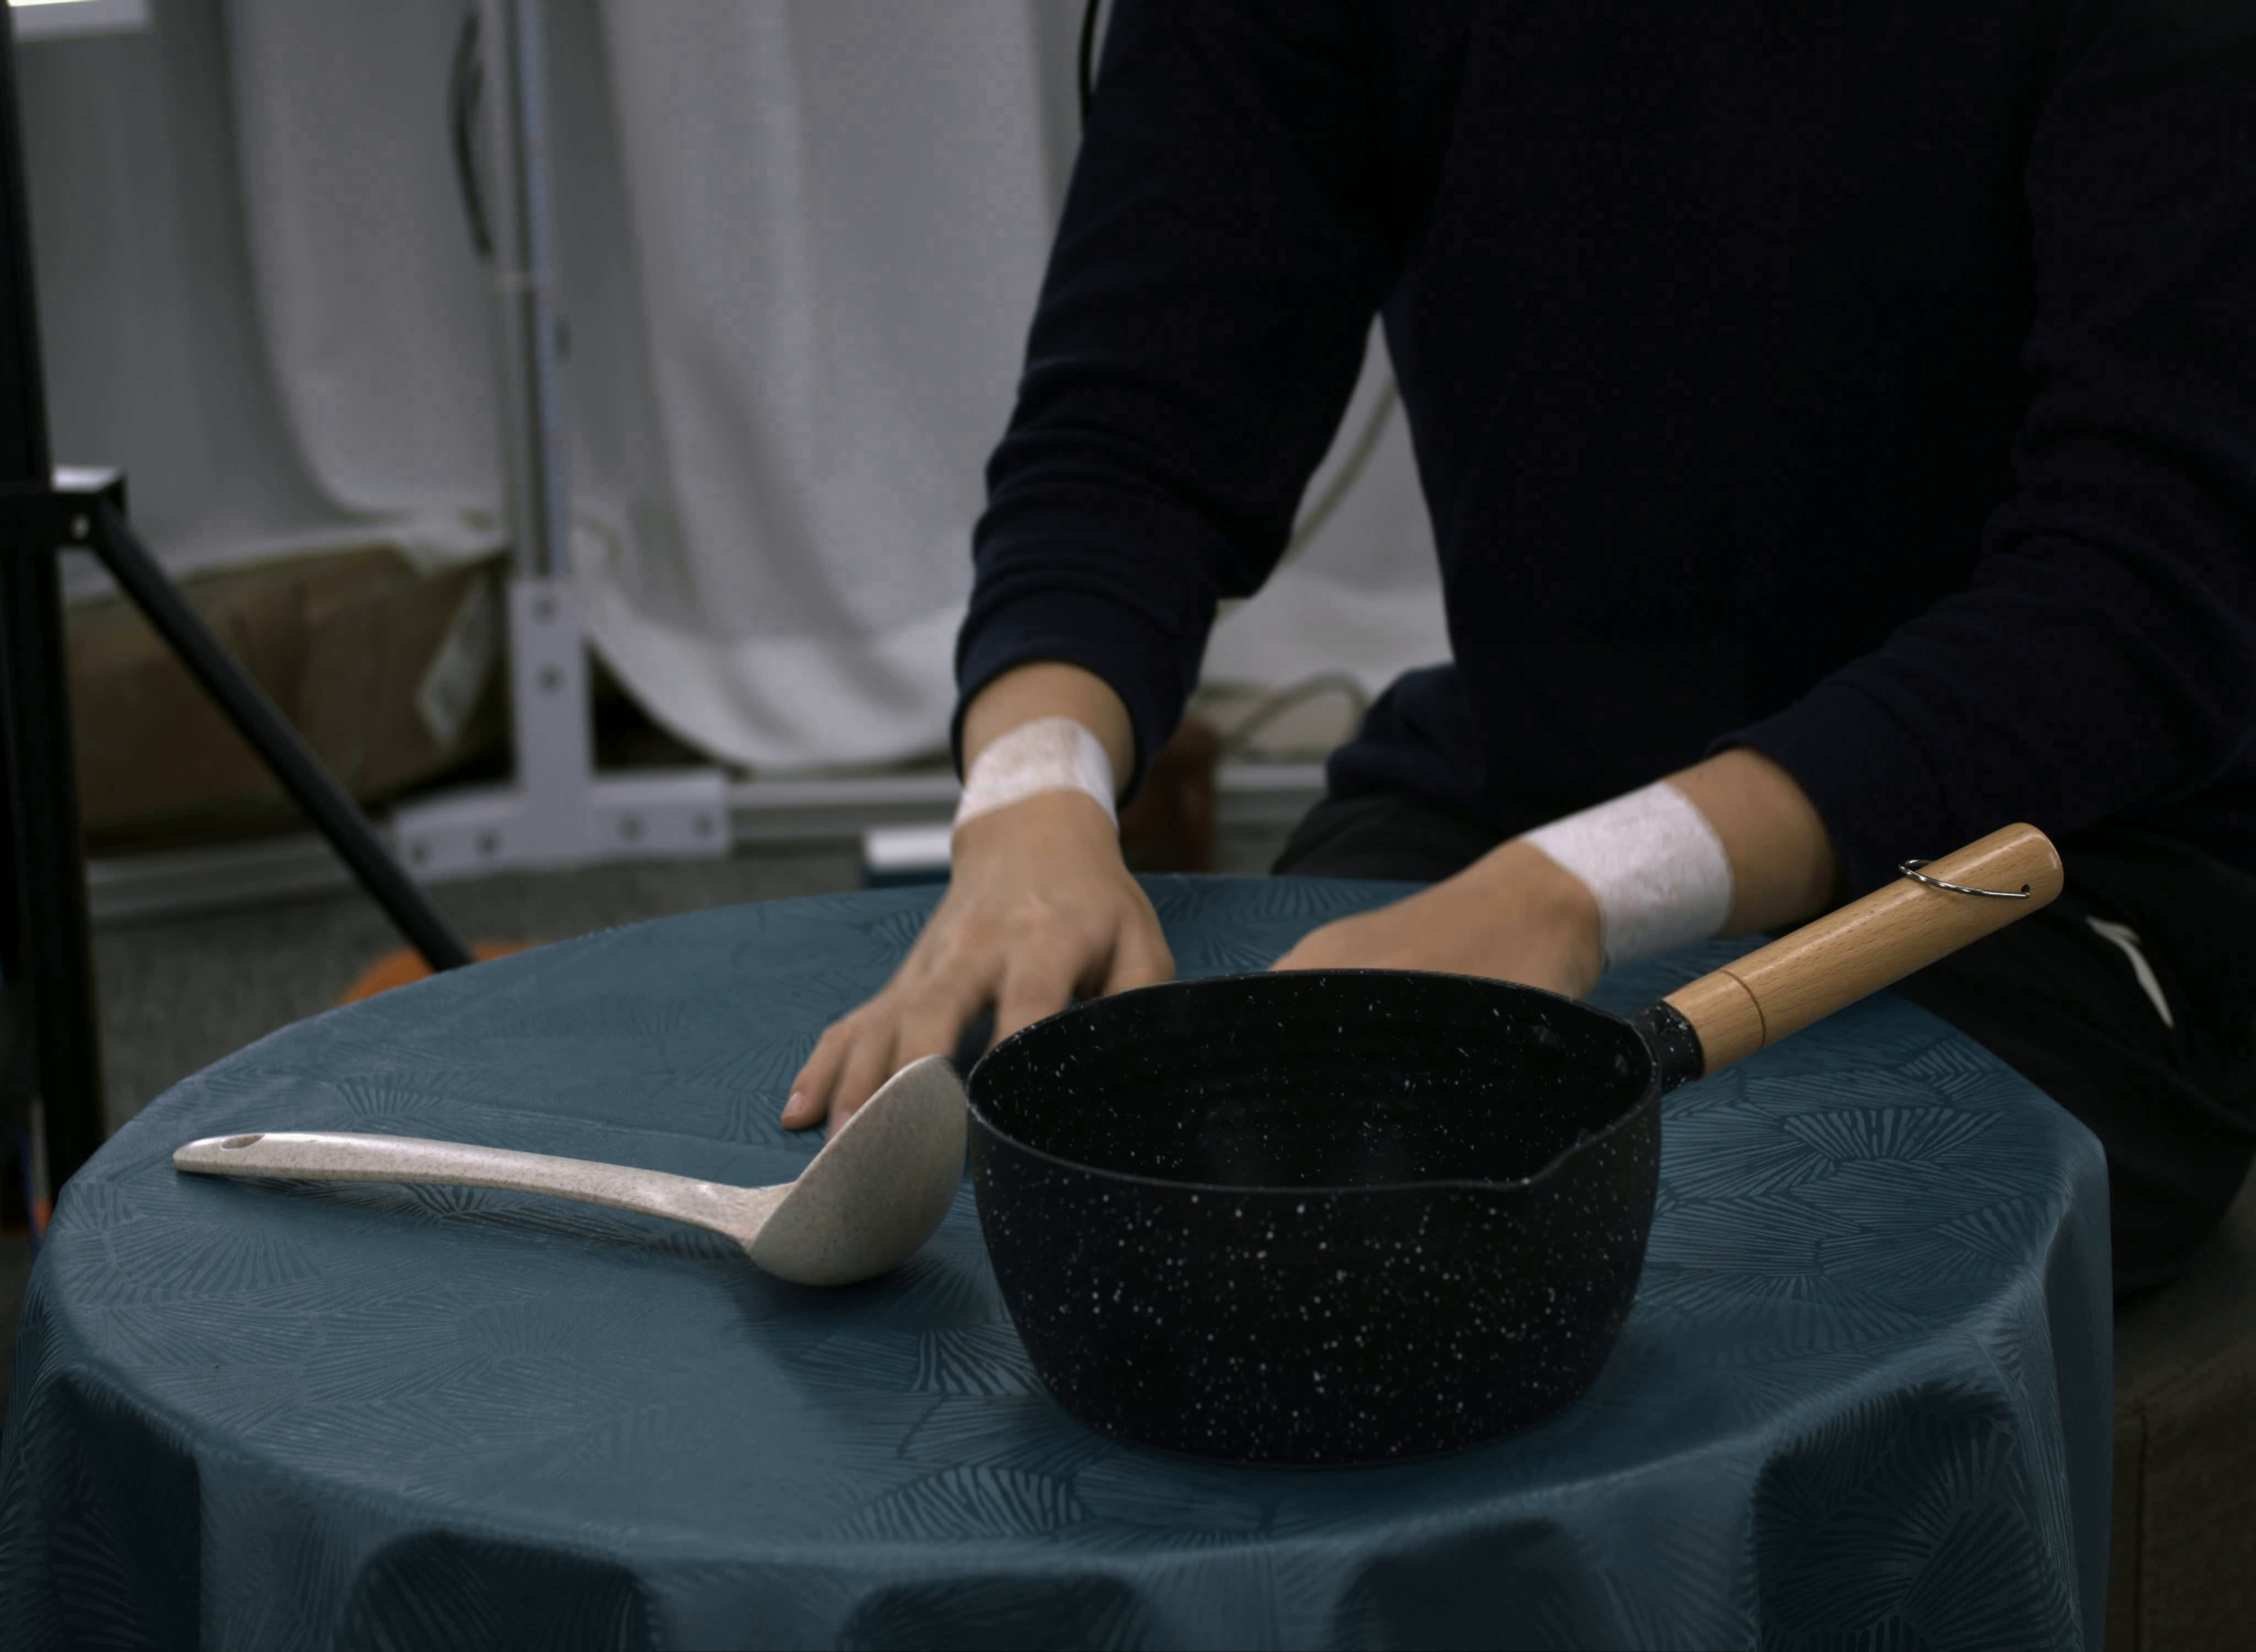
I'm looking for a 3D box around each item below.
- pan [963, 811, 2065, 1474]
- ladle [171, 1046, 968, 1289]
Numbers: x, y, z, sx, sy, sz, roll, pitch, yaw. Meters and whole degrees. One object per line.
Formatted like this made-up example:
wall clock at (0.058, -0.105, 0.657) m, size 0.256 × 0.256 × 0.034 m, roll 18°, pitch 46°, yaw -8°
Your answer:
pan at (0.117, 0.080, 1.439) m, size 0.335 × 0.108 × 0.212 m, roll -13°, pitch 18°, yaw -28°
ladle at (-0.171, 0.085, 1.546) m, size 0.279 × 0.069 × 0.088 m, roll 6°, pitch 28°, yaw 29°
